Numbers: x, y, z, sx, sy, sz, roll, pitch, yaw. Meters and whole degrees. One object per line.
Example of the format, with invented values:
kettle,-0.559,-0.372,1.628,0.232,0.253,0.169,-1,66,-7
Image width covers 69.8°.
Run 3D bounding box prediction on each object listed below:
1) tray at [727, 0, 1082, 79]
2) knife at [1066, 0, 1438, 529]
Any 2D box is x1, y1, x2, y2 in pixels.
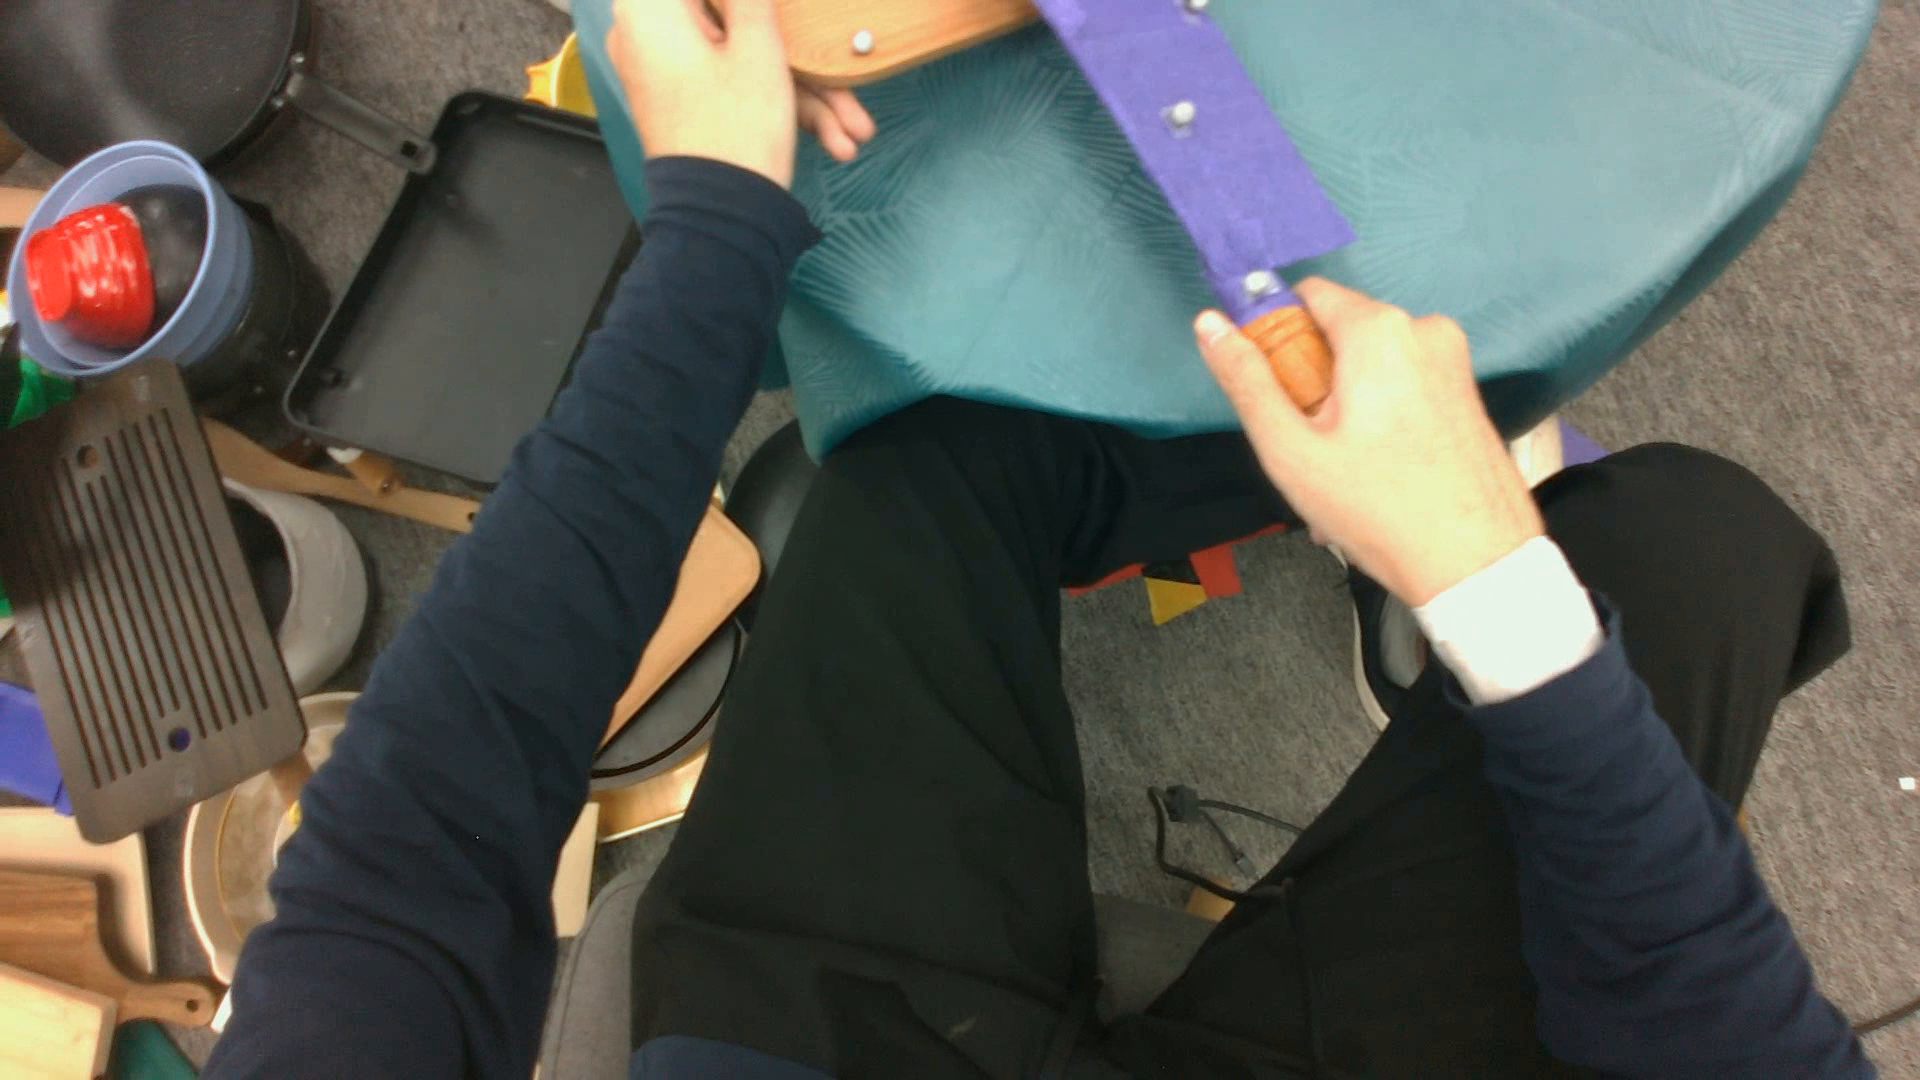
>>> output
tray,0.009,-0.258,0.563,0.232,0.020,0.101,-27,87,-18
knife,0.102,-0.155,0.522,0.104,0.032,0.315,-23,82,-41
